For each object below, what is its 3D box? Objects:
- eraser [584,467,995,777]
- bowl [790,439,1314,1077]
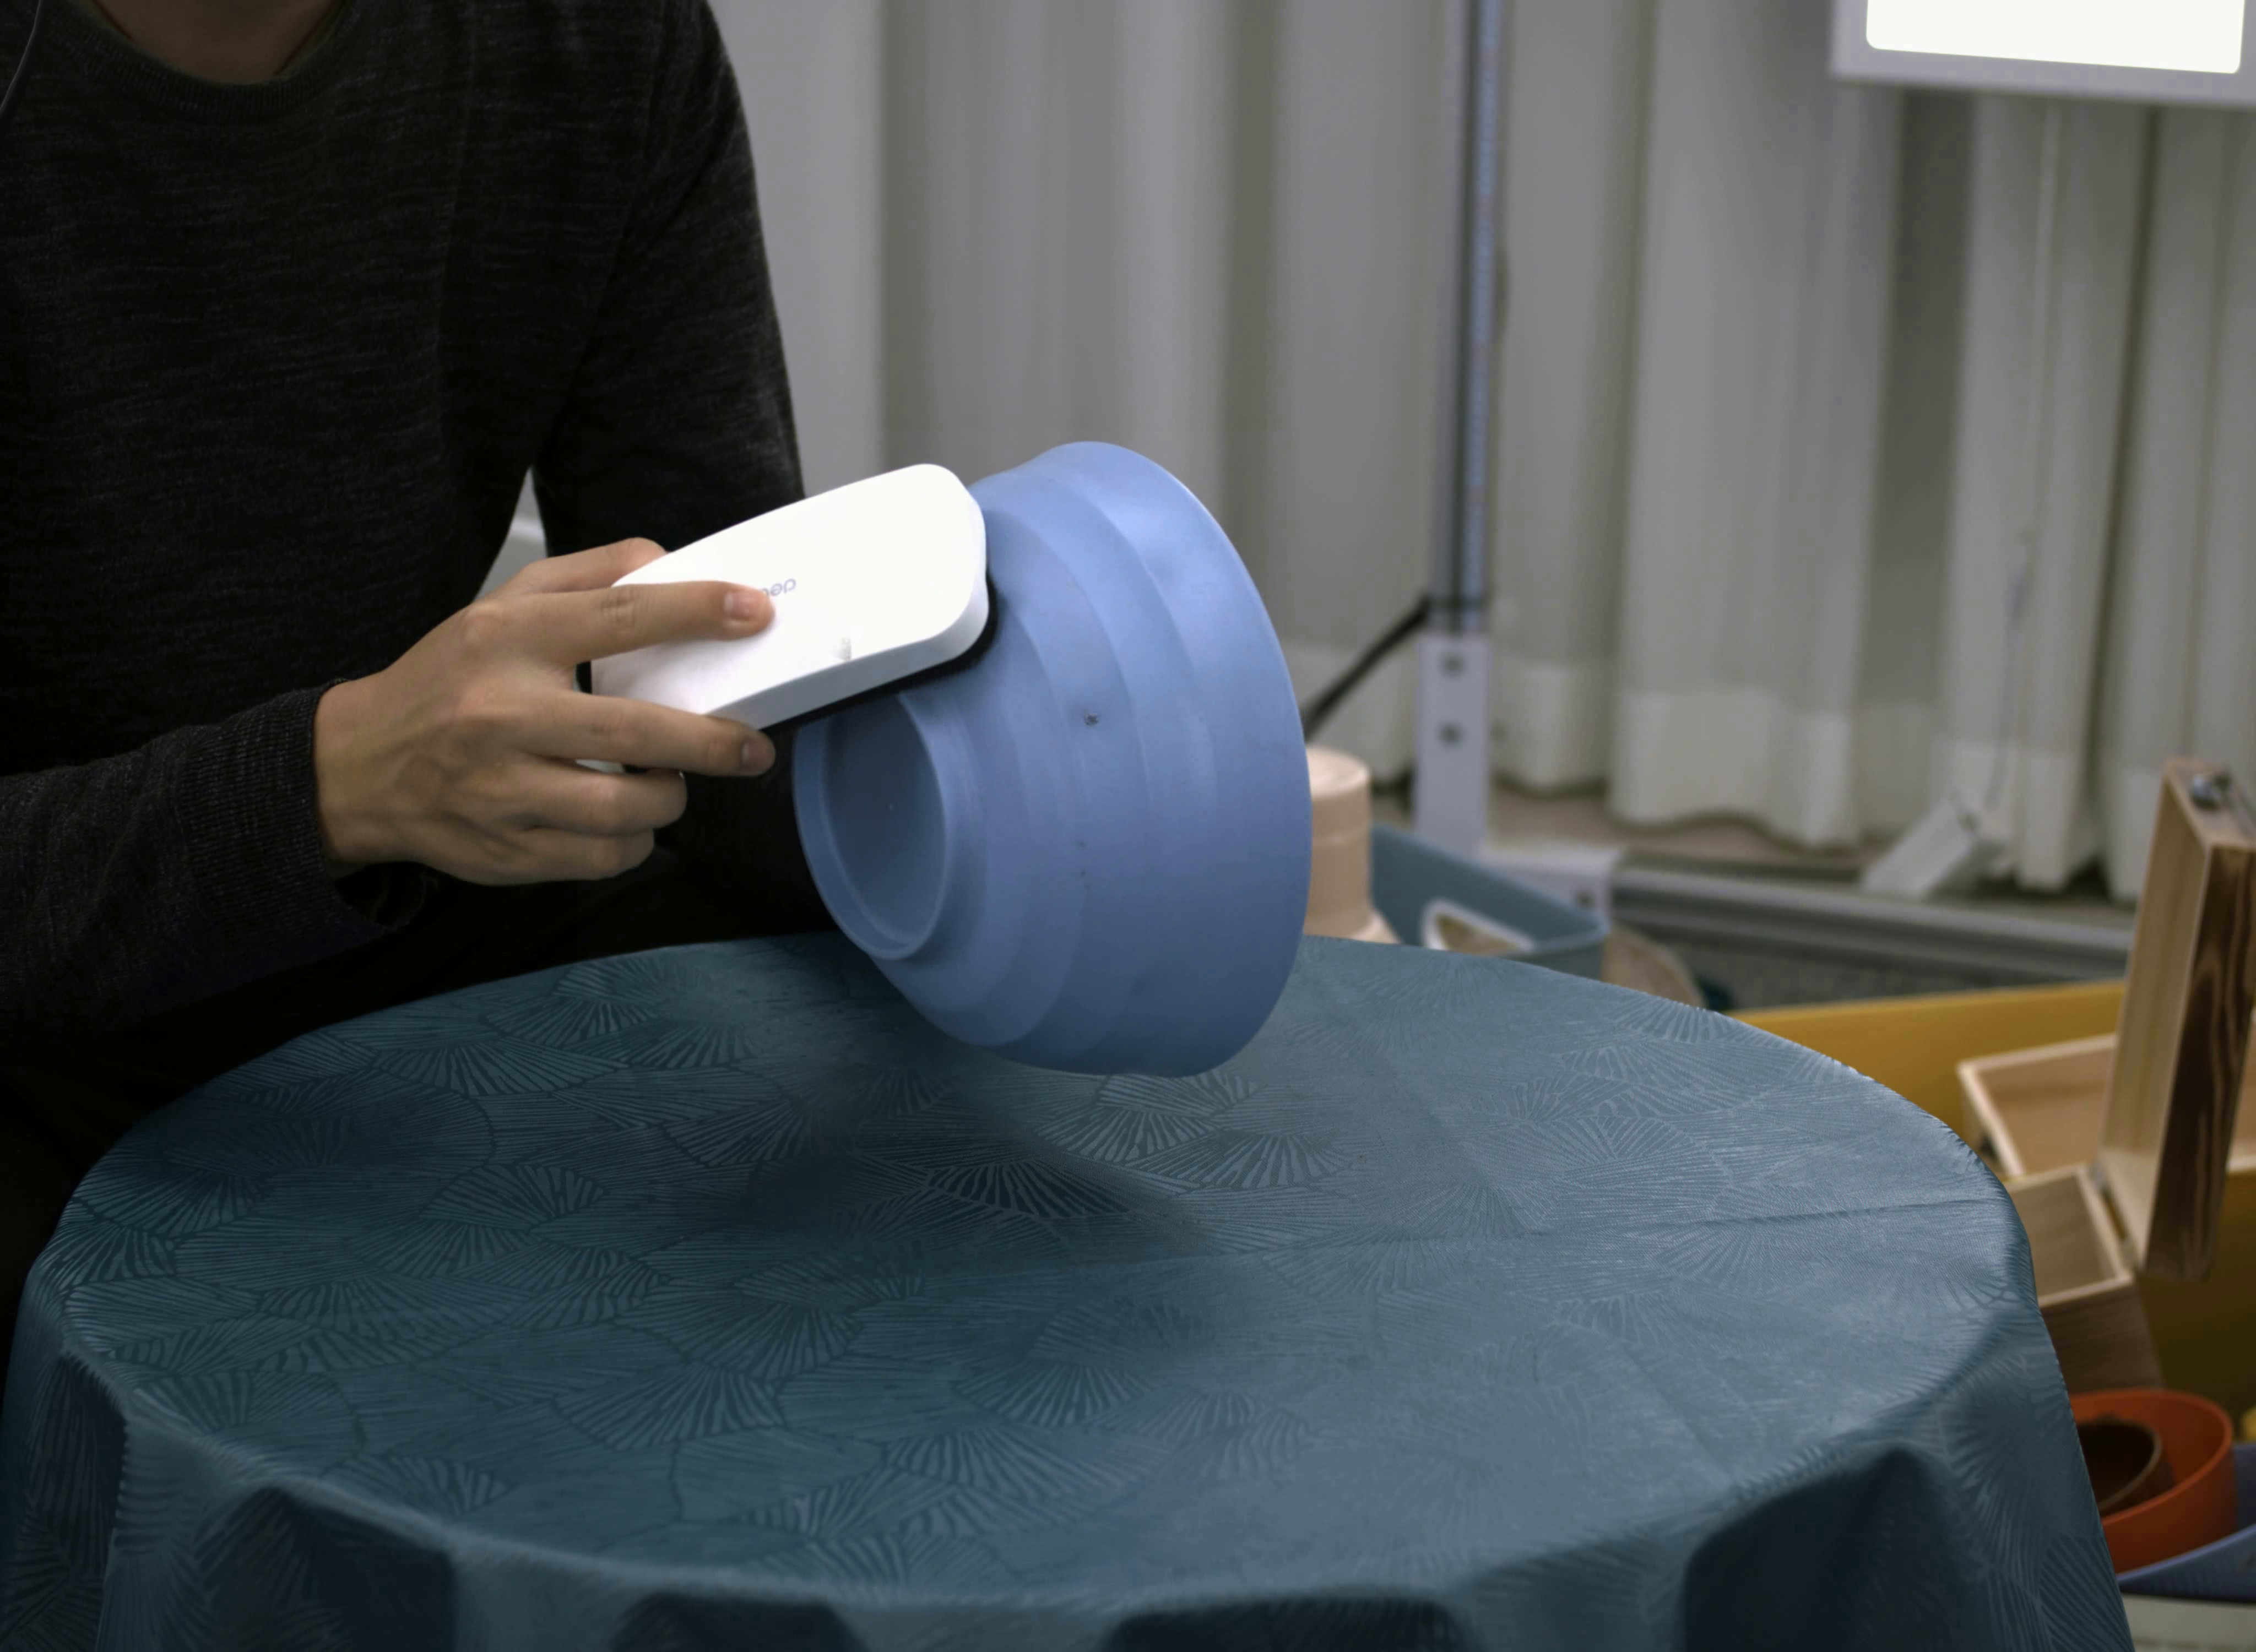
[{"bbox_3d":[-0.101,-0.061,1.540,0.130,0.063,0.035,-18,-34,21],"label":"eraser"},{"bbox_3d":[-0.038,-0.012,1.580,0.096,0.198,0.194,-12,21,-32],"label":"bowl"}]
